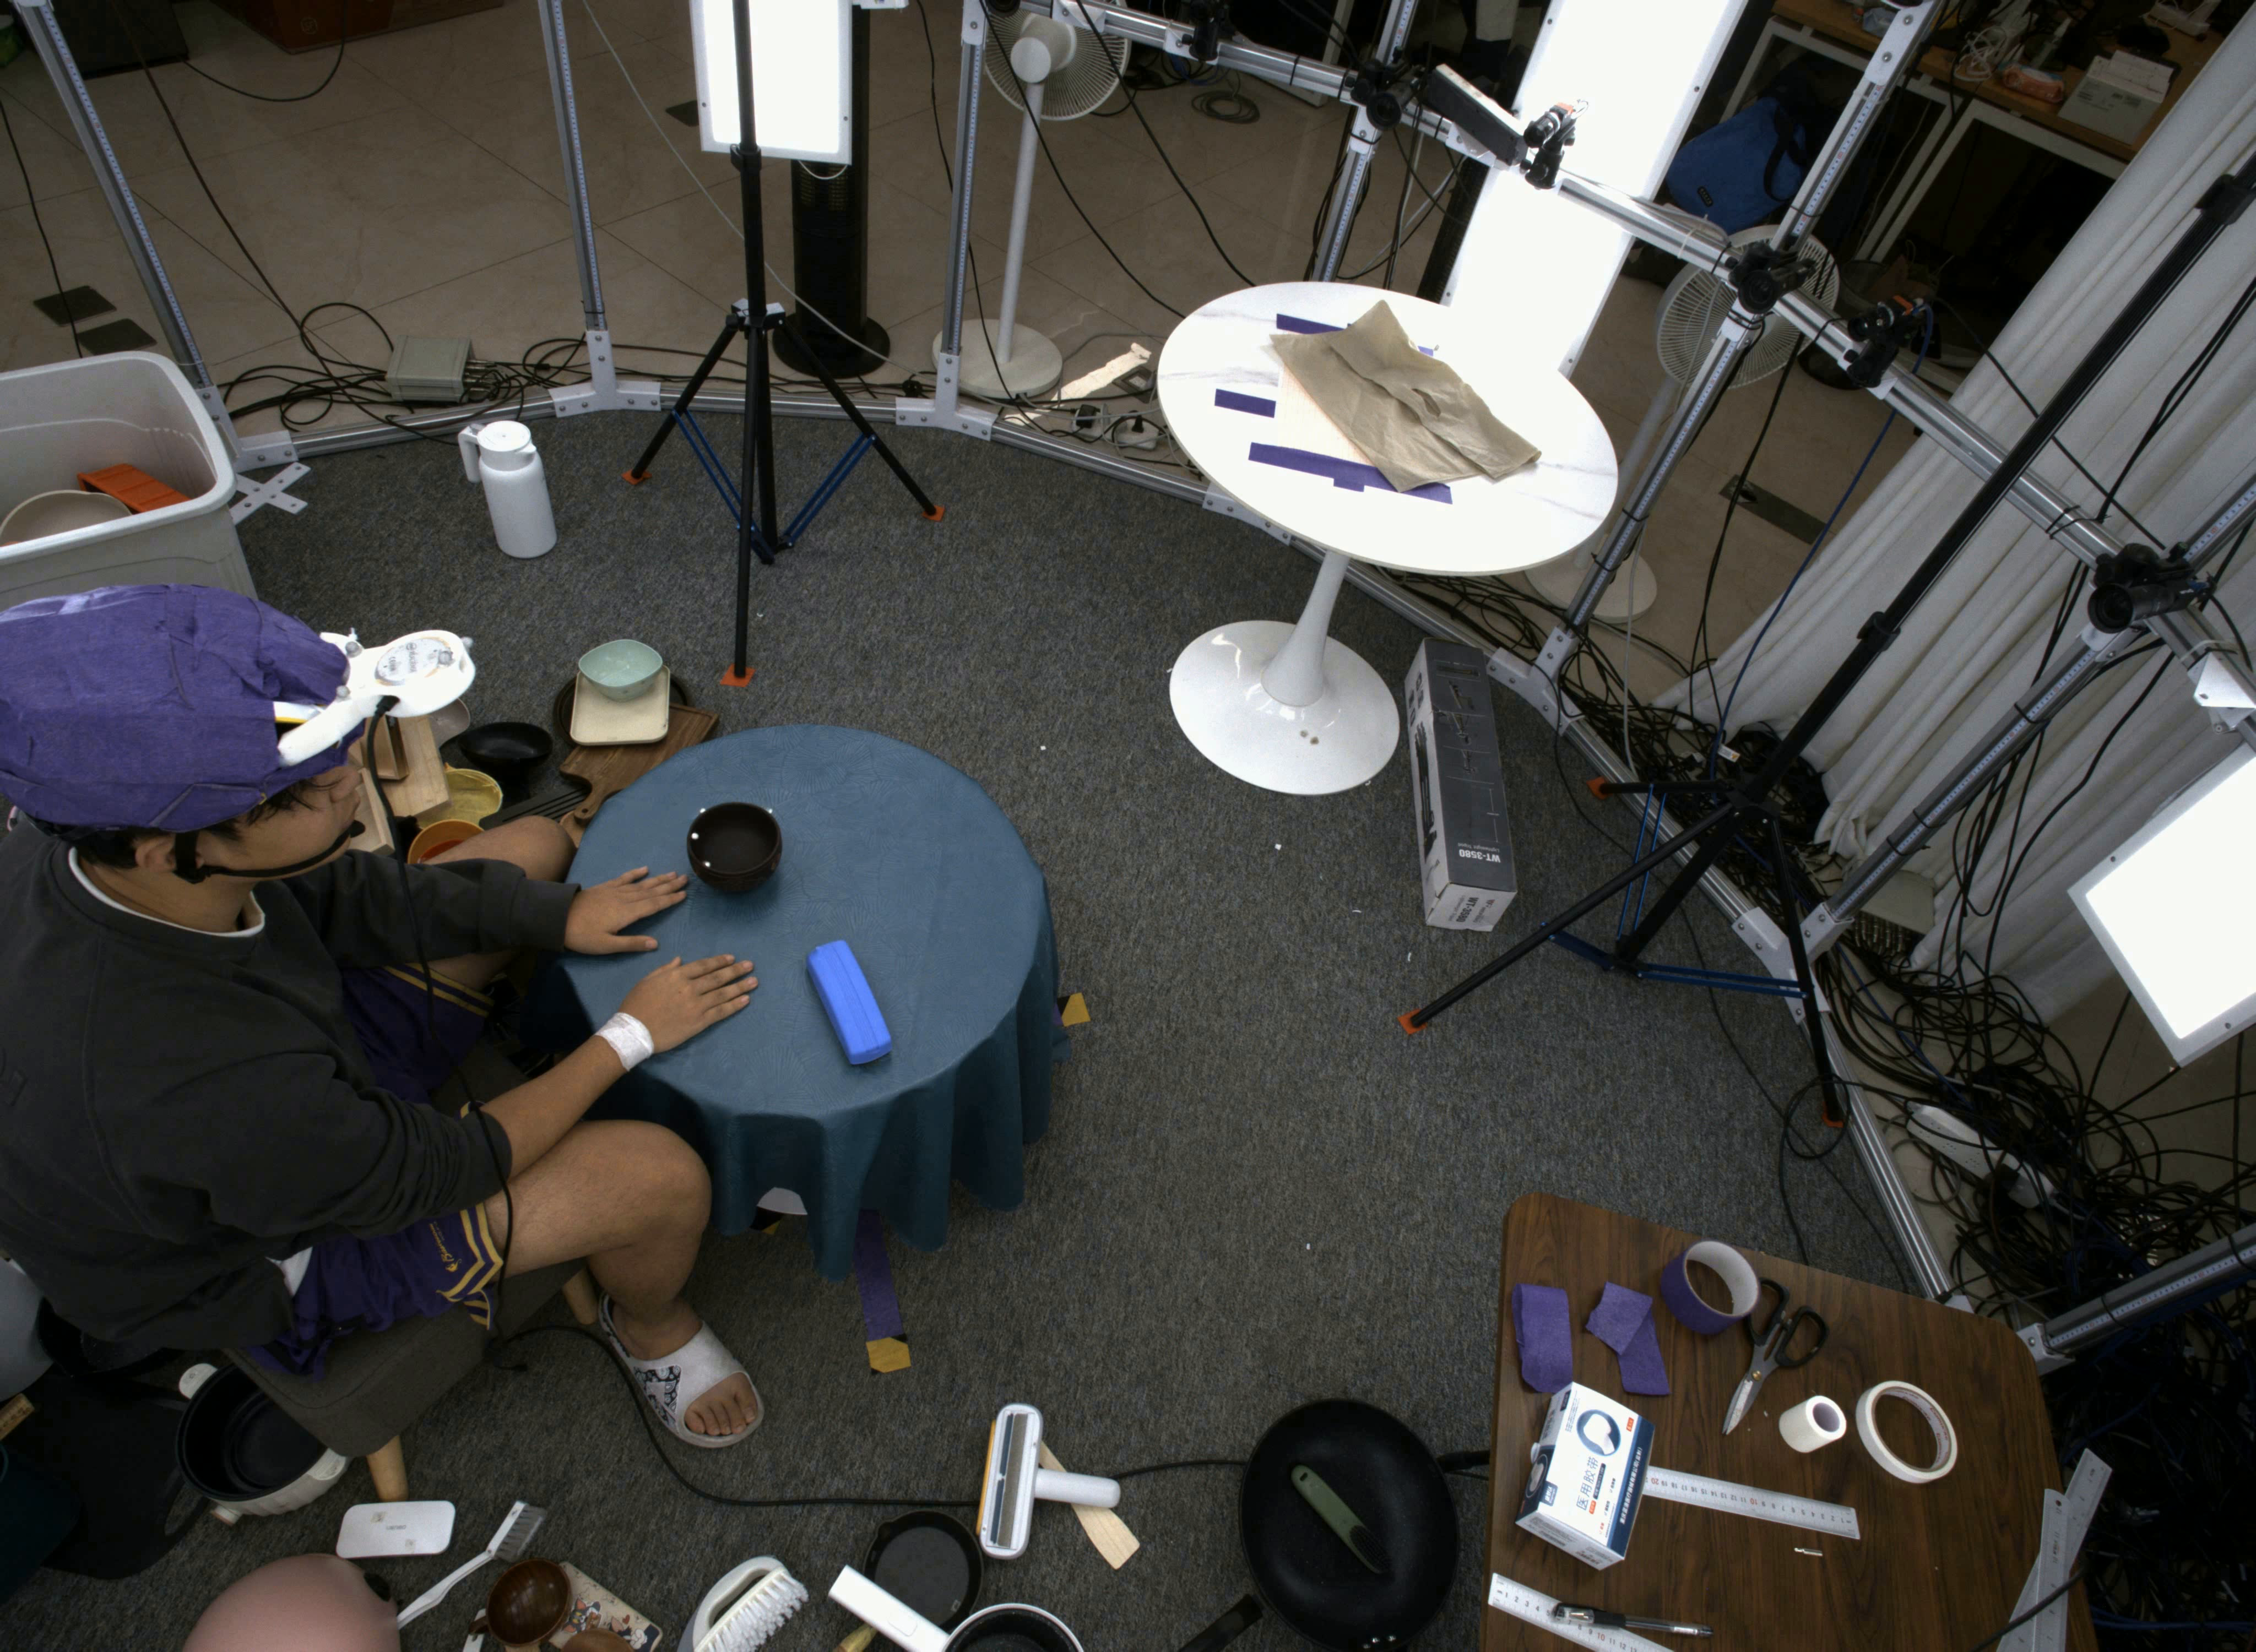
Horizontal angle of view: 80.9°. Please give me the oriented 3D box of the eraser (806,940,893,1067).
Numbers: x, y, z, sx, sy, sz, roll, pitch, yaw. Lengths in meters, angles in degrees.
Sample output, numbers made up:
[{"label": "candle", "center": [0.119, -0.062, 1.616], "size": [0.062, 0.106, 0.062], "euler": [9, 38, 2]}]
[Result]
[{"label": "eraser", "center": [-0.337, 0.206, 1.567], "size": [0.054, 0.048, 0.158], "euler": [-19, 60, -26]}]

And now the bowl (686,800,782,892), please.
[{"label": "bowl", "center": [-0.498, 0.032, 1.639], "size": [0.118, 0.071, 0.116], "euler": [7, 53, -8]}]
